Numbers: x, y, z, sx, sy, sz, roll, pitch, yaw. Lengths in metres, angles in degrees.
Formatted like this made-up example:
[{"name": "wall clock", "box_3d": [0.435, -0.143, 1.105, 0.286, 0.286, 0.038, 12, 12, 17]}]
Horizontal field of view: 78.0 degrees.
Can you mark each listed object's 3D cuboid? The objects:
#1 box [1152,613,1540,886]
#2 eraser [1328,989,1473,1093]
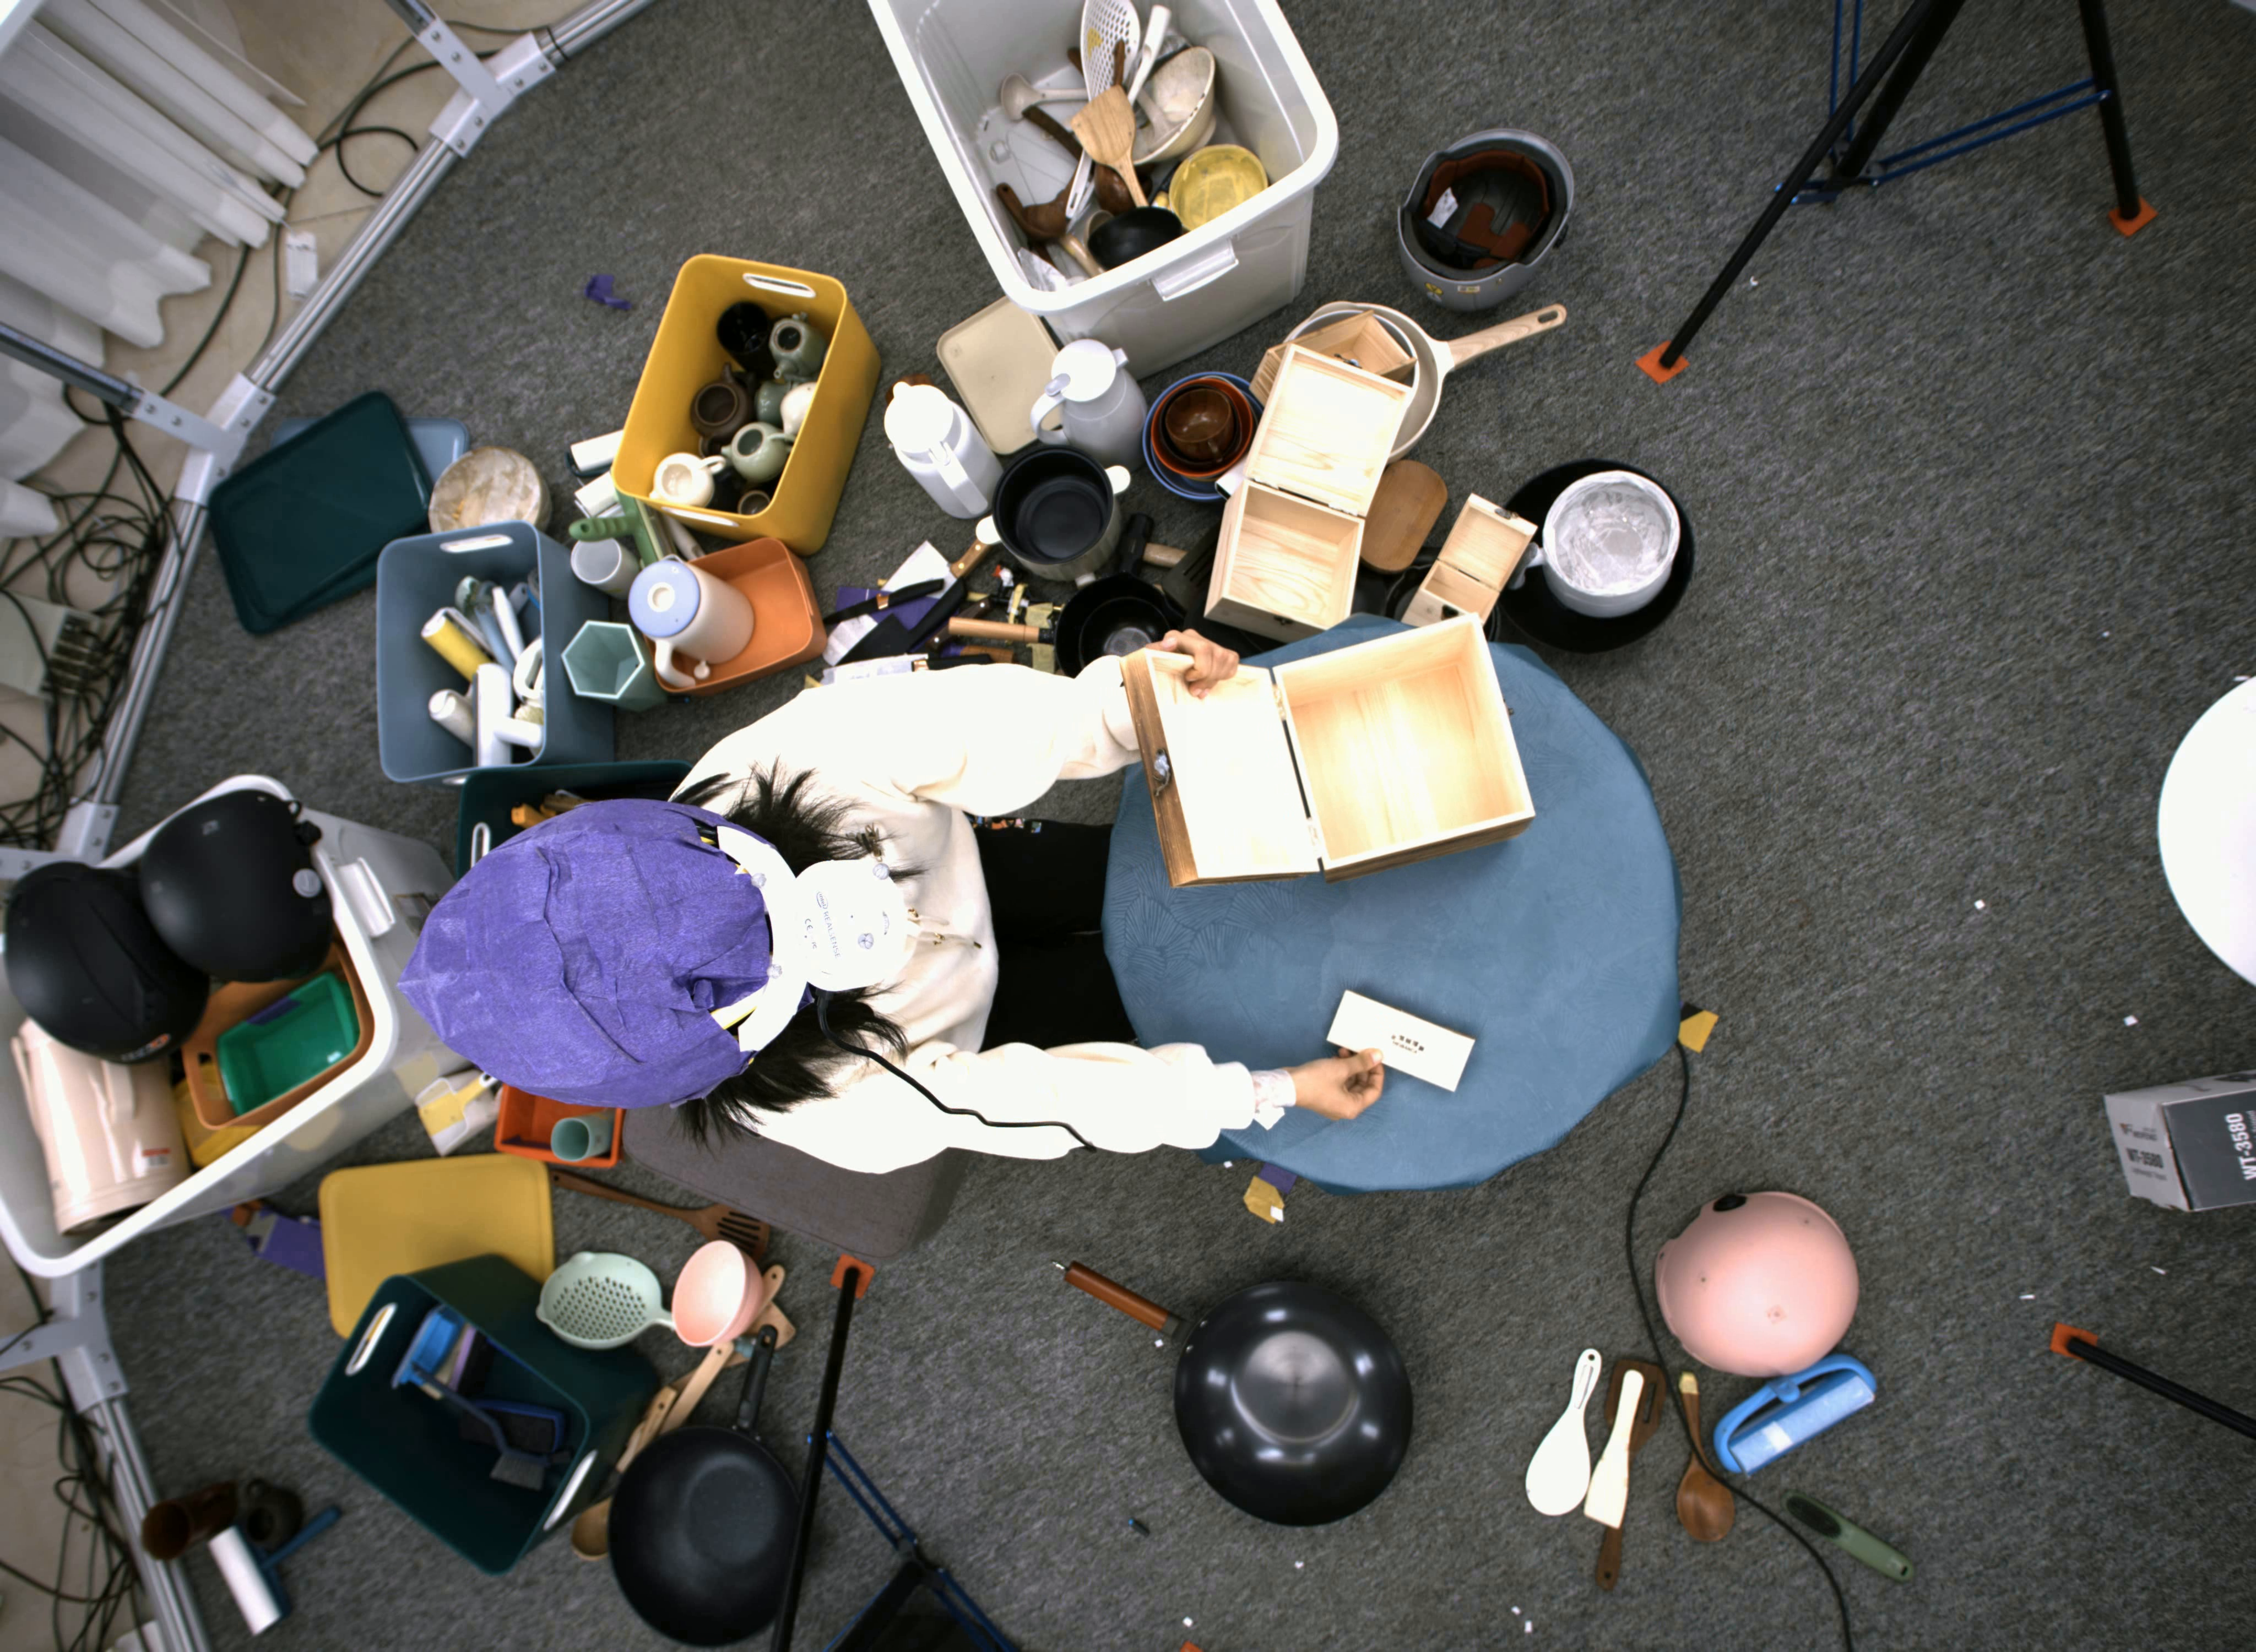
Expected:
[{"name": "box", "box_3d": [0.205, -0.068, 1.276, 0.323, 0.376, 0.207, -15, 82, 6]}, {"name": "eraser", "box_3d": [0.282, 0.219, 1.432, 0.139, 0.029, 0.057, 23, 95, 8]}]
